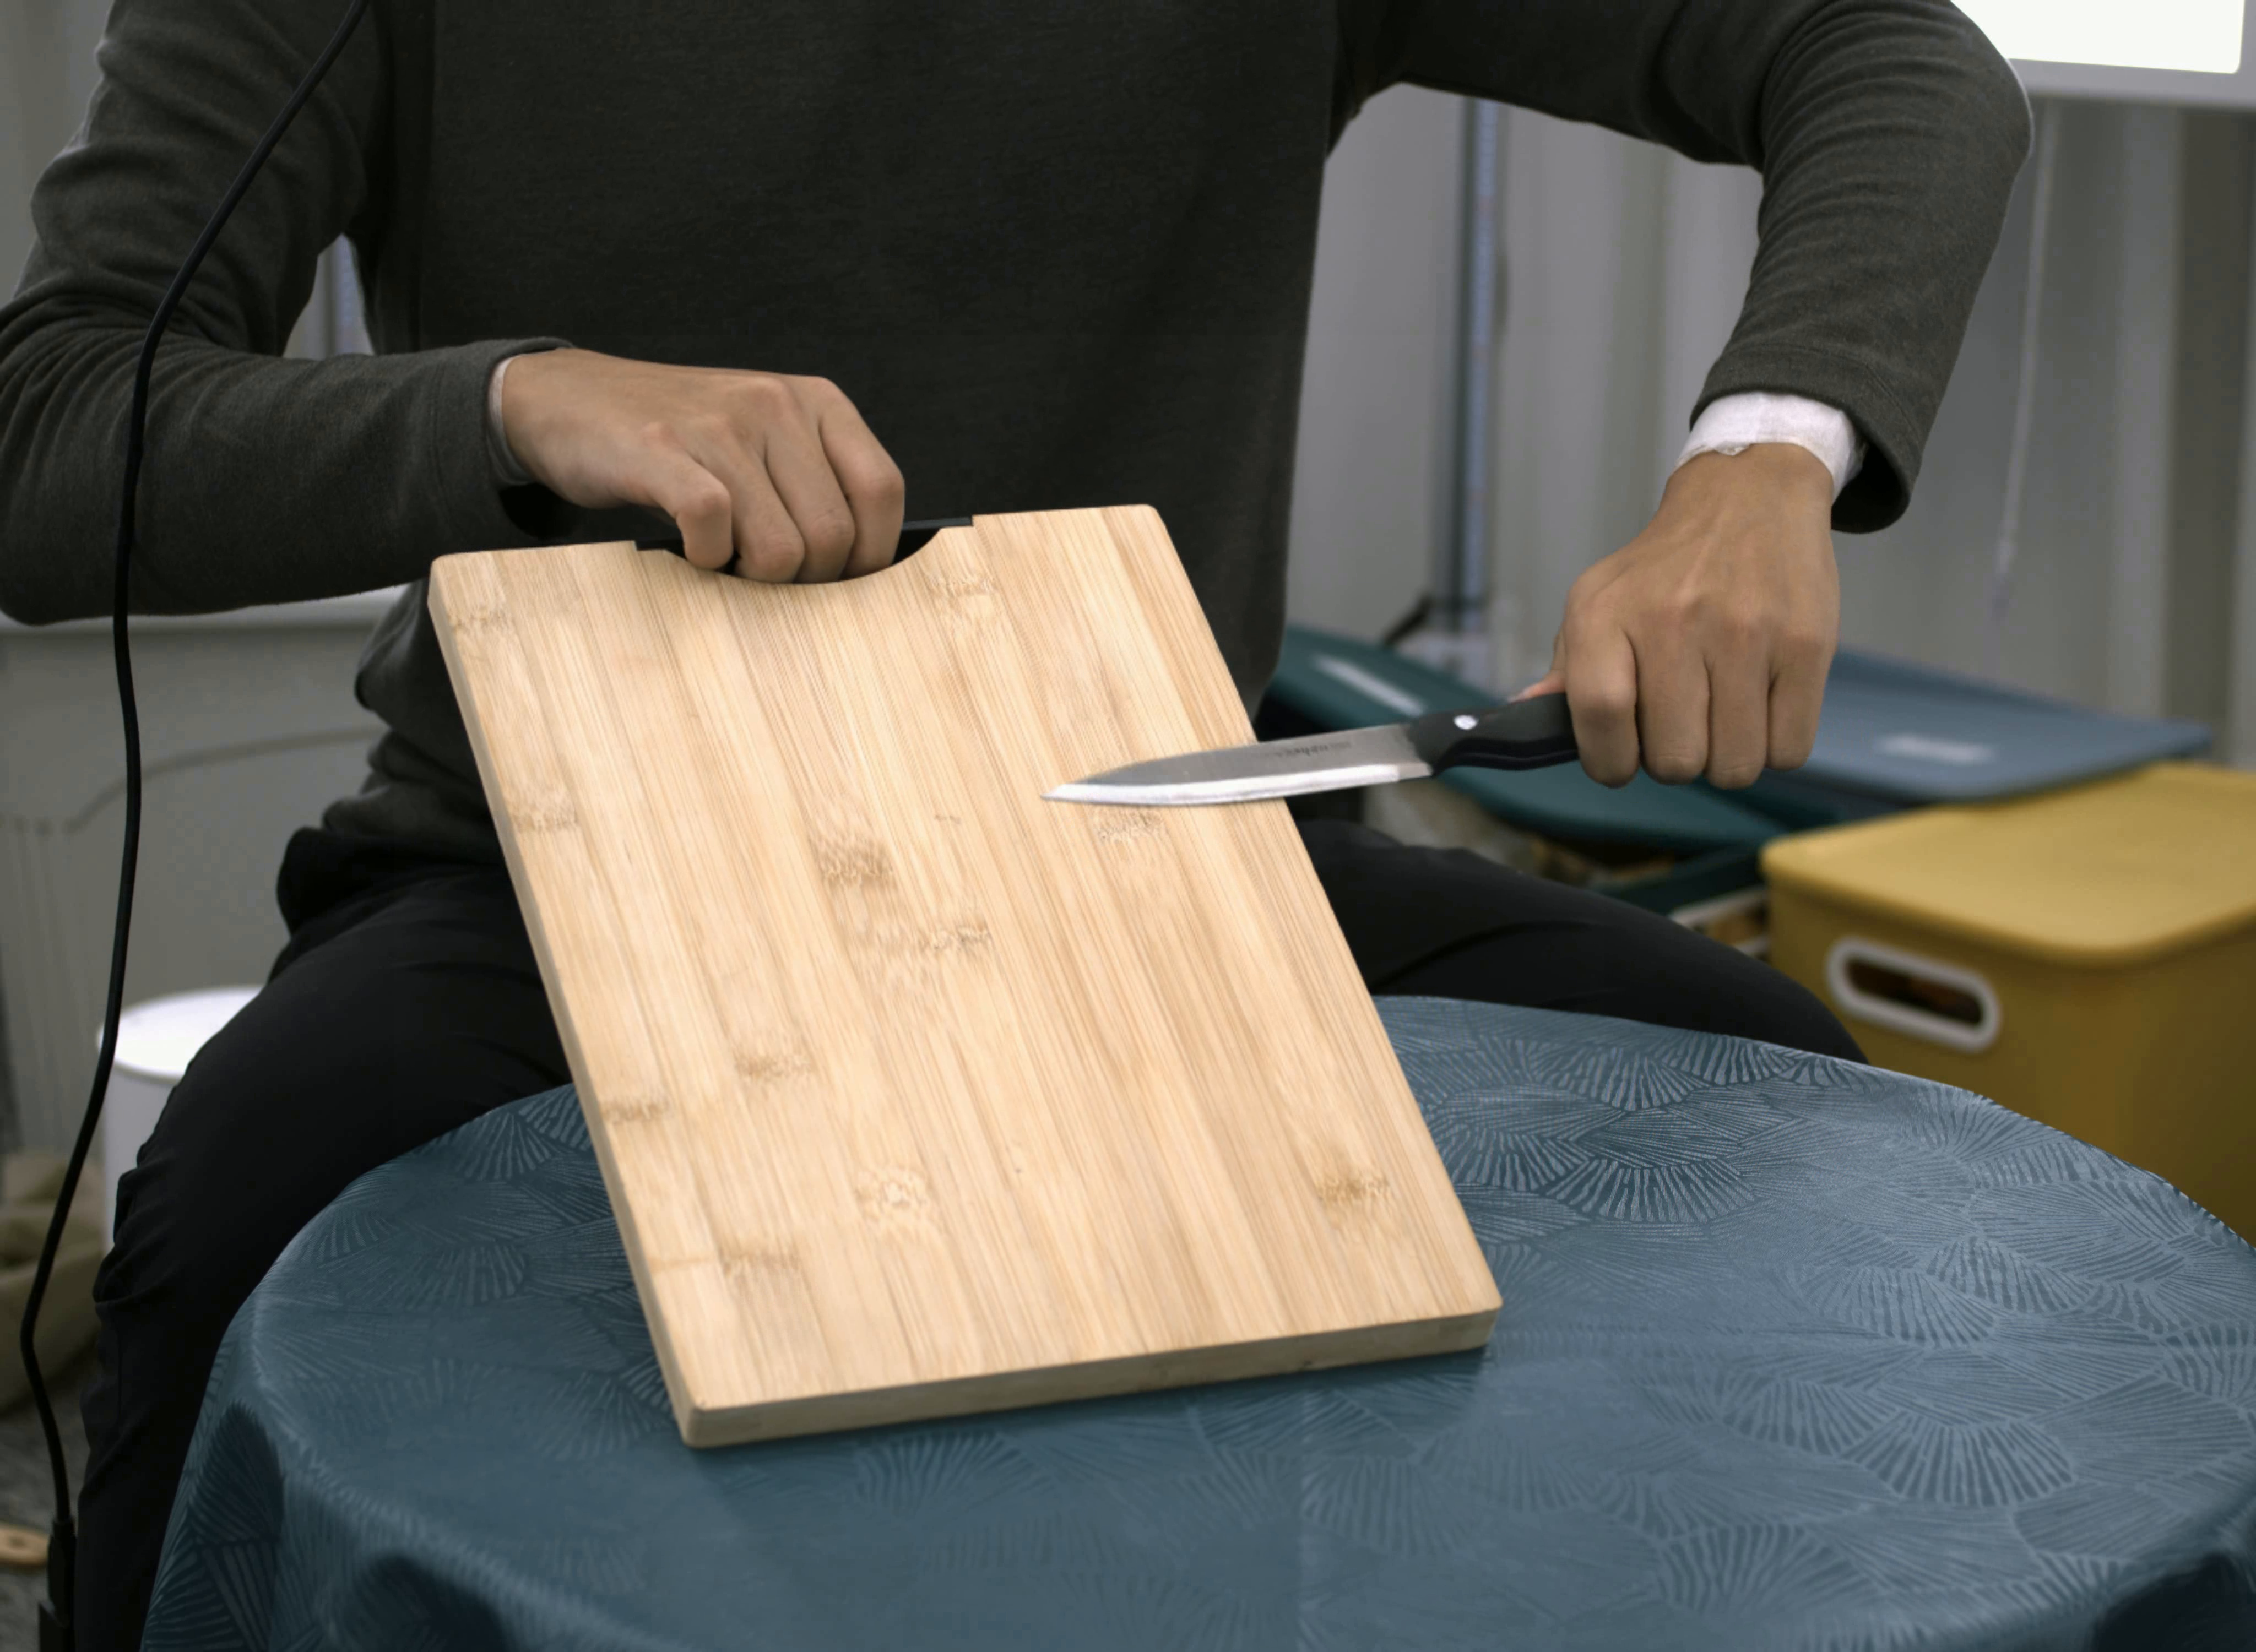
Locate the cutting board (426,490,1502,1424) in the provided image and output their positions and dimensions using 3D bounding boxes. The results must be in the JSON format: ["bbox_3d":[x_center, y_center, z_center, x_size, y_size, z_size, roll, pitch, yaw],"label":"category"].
[{"bbox_3d":[-0.056,0.029,1.563,0.251,0.024,0.344,-5,48,-21],"label":"cutting board"}]

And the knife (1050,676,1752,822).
[{"bbox_3d":[0.085,-0.023,1.634,0.239,0.016,0.024,-9,48,-21],"label":"knife"}]
